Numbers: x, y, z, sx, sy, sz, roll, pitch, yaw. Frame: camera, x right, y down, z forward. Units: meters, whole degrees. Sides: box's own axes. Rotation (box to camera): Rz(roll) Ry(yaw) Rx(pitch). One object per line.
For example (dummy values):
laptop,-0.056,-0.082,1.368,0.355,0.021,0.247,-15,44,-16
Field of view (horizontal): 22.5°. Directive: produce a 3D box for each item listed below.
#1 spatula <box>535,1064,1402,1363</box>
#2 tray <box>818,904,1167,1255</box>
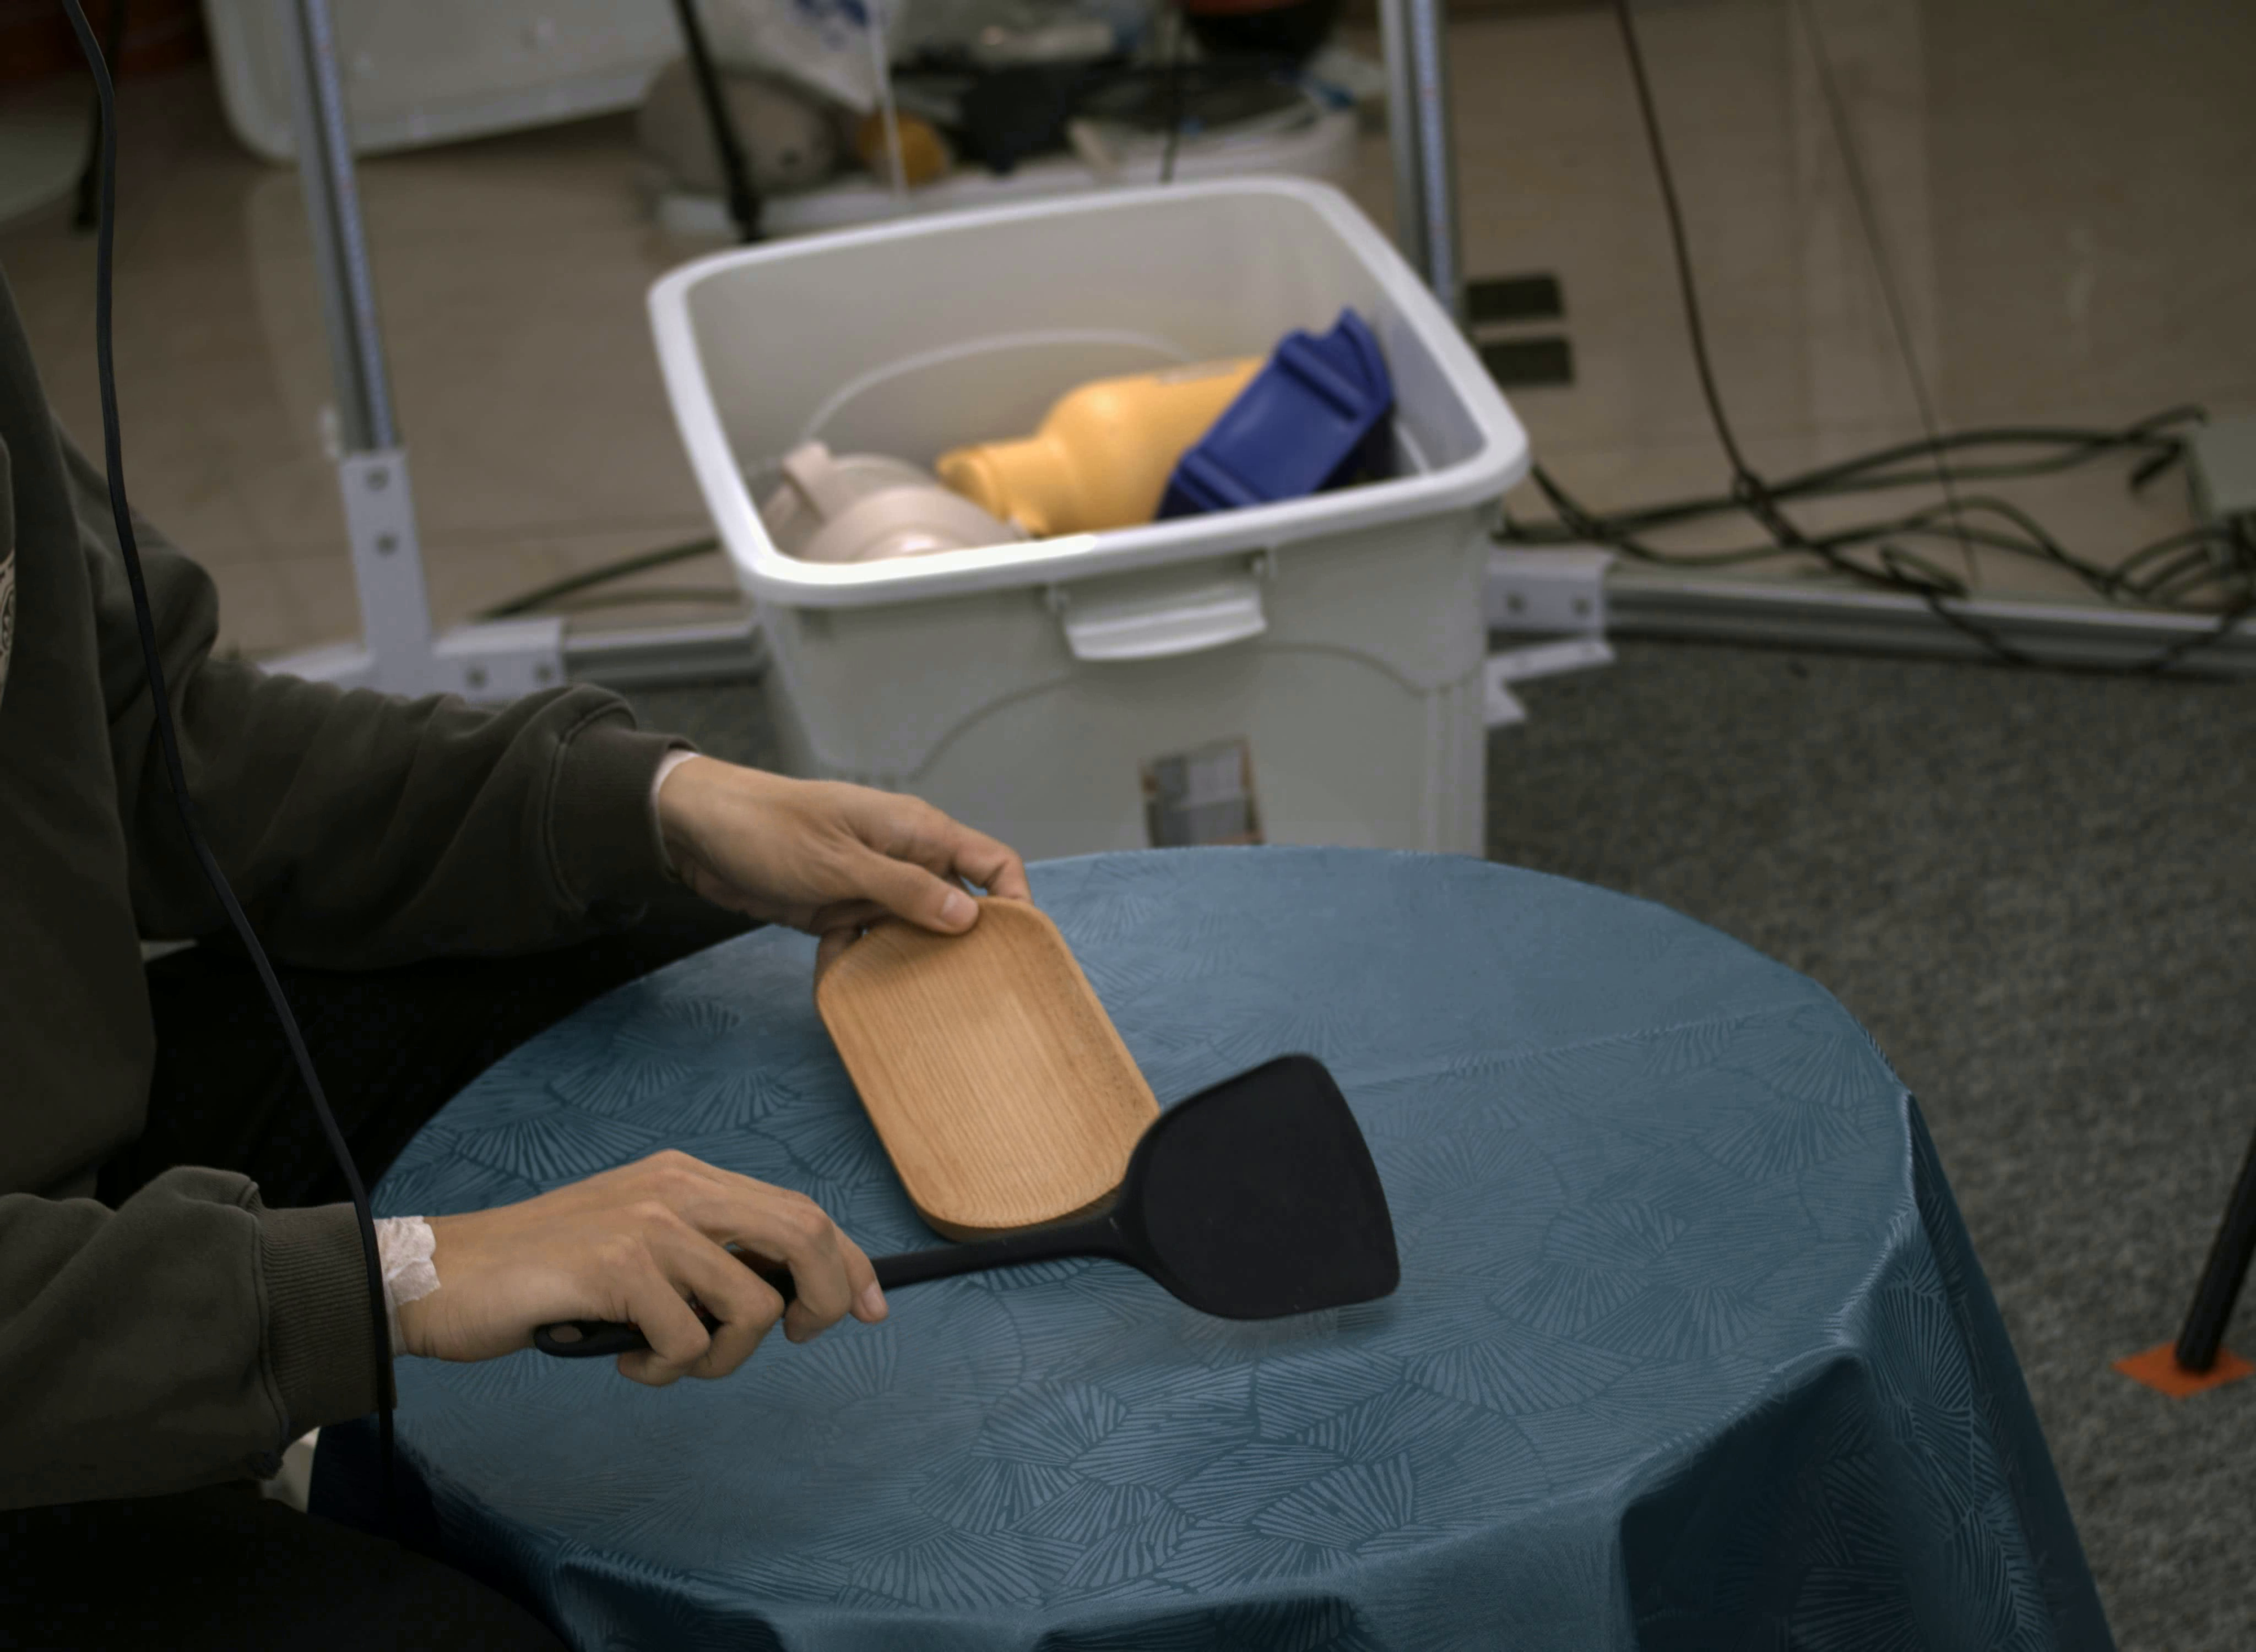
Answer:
spatula,-0.056,0.151,1.983,0.325,0.041,0.098,-7,64,-32
tray,-0.053,0.097,2.197,0.101,0.021,0.227,-22,35,-7
